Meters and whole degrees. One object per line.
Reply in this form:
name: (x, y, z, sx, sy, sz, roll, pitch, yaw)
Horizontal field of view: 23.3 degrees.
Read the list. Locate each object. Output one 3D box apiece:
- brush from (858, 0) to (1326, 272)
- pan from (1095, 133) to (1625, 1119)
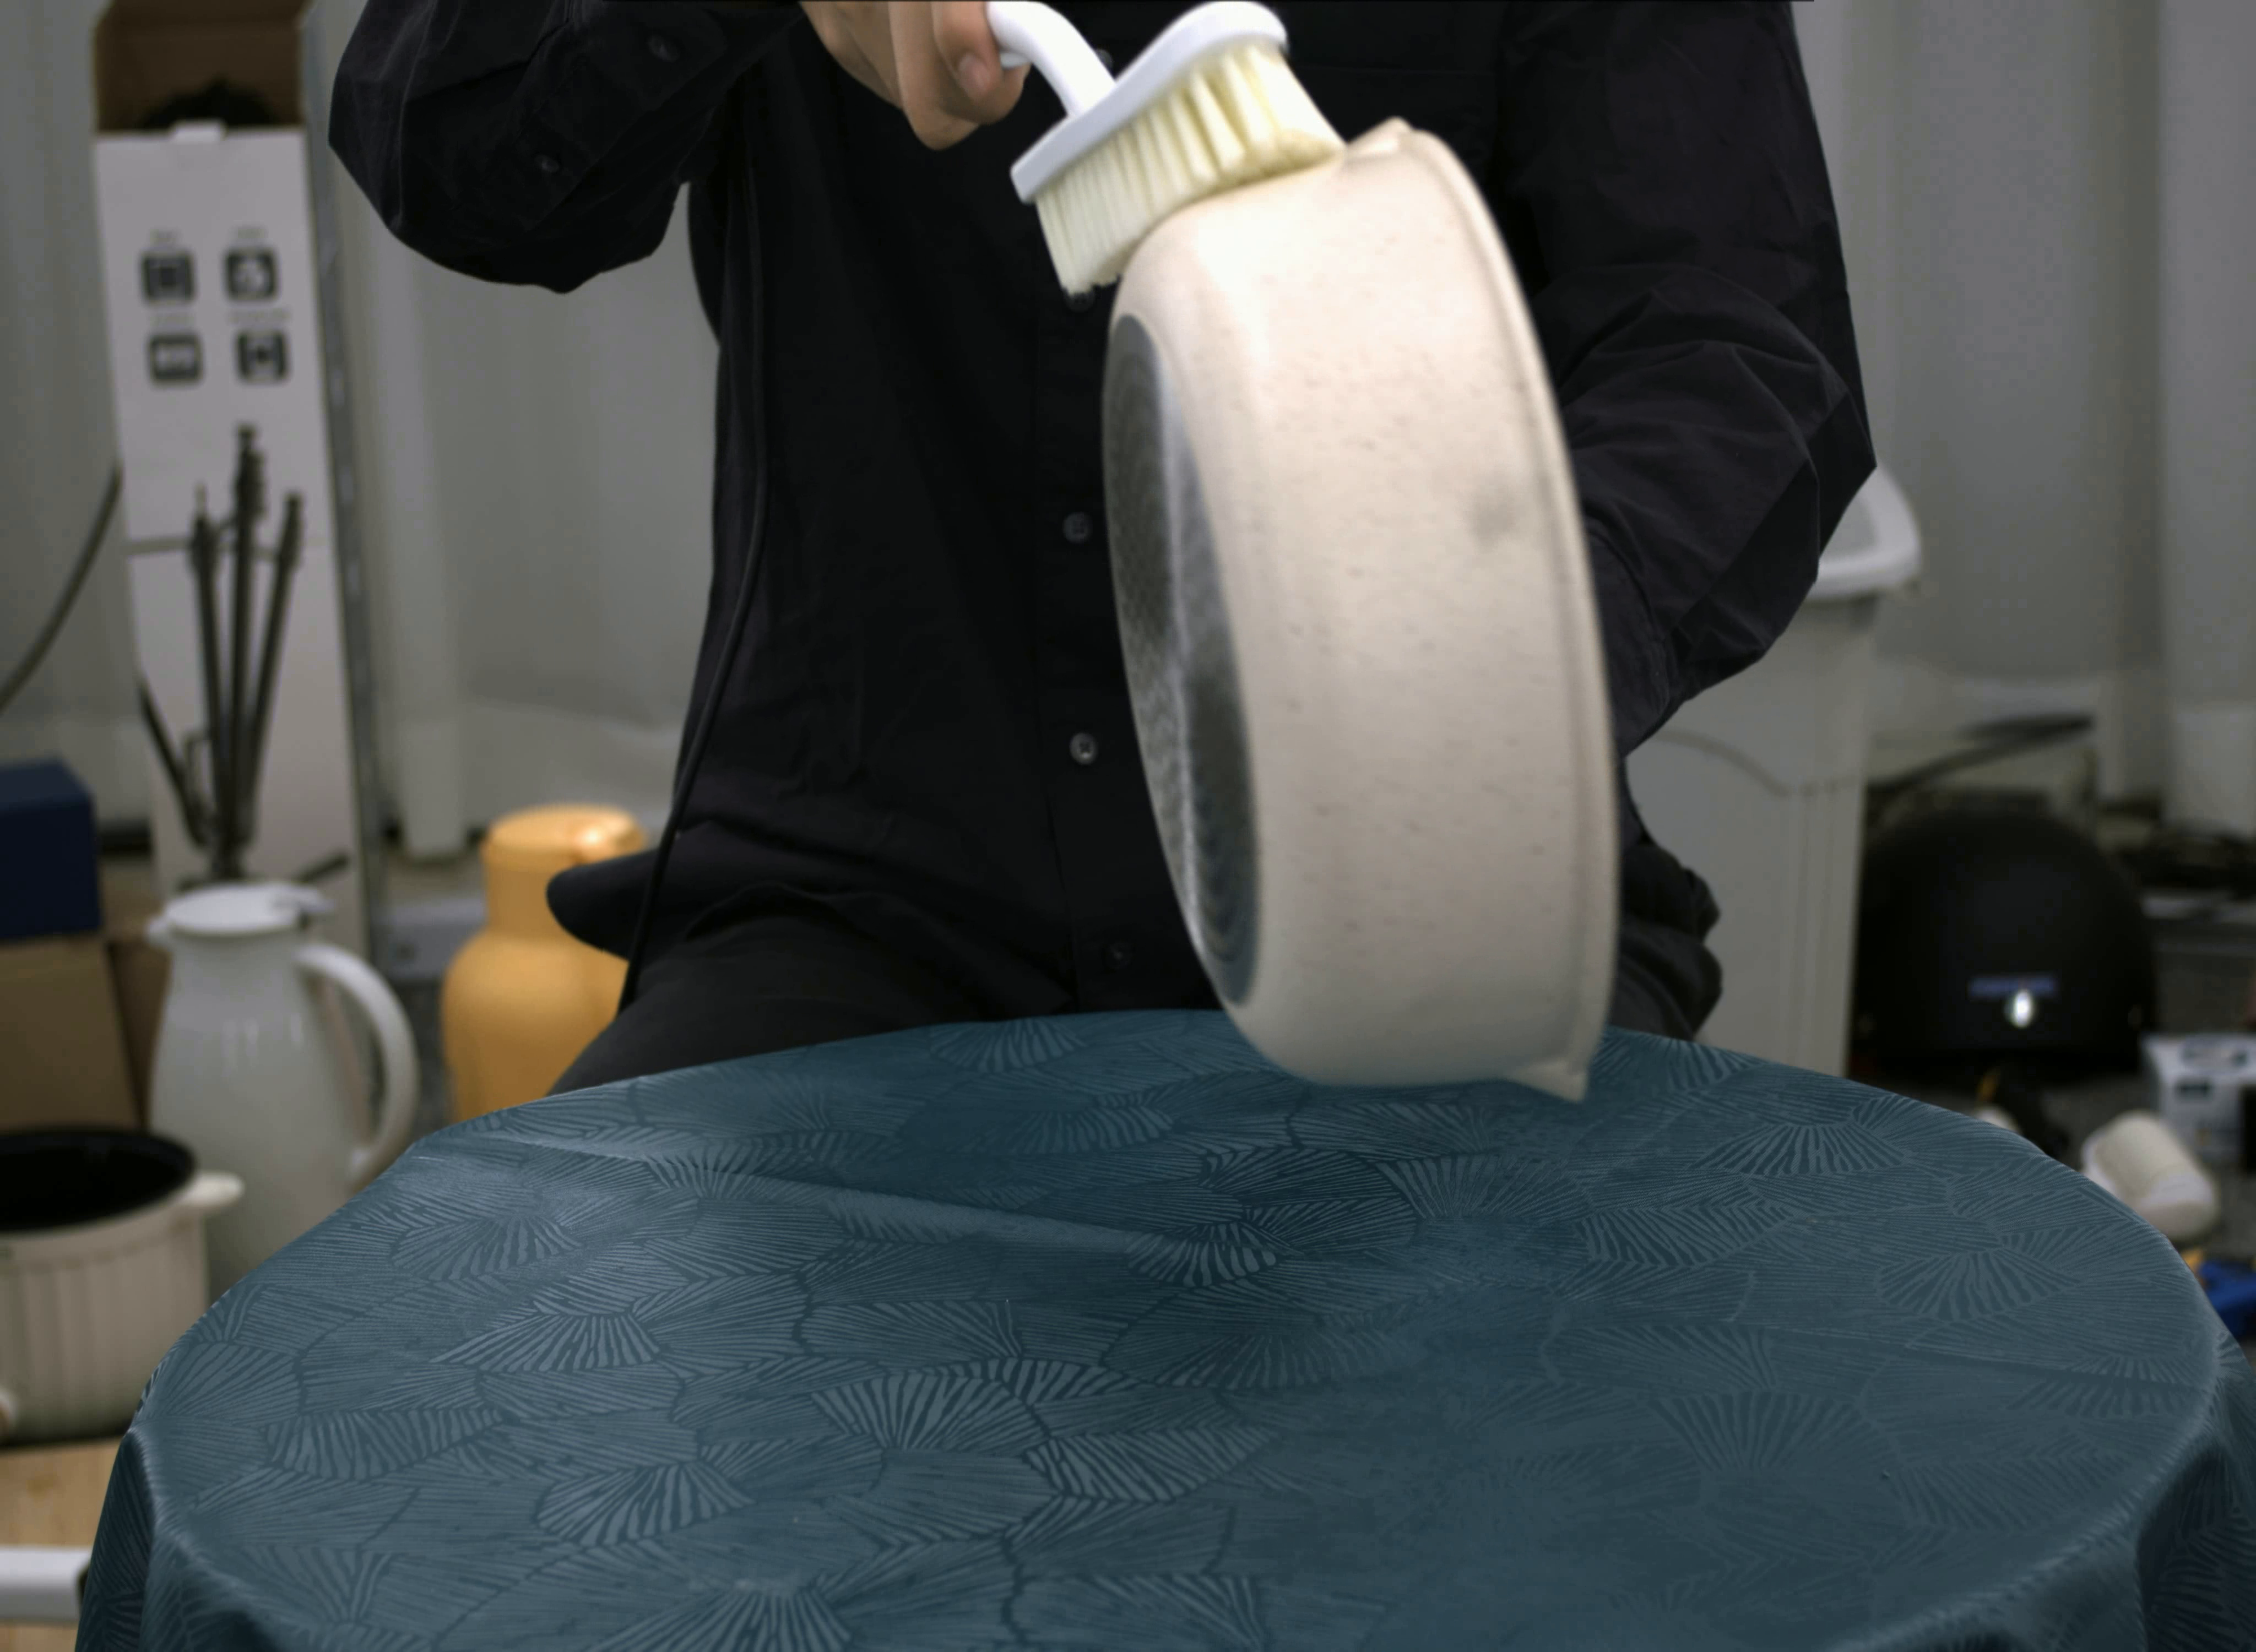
brush: (-0.012, -0.195, 1.558, 0.082, 0.085, 0.327, 18, 0, -18)
pan: (0.050, -0.031, 1.509, 0.101, 0.265, 0.433, -11, -9, -8)
